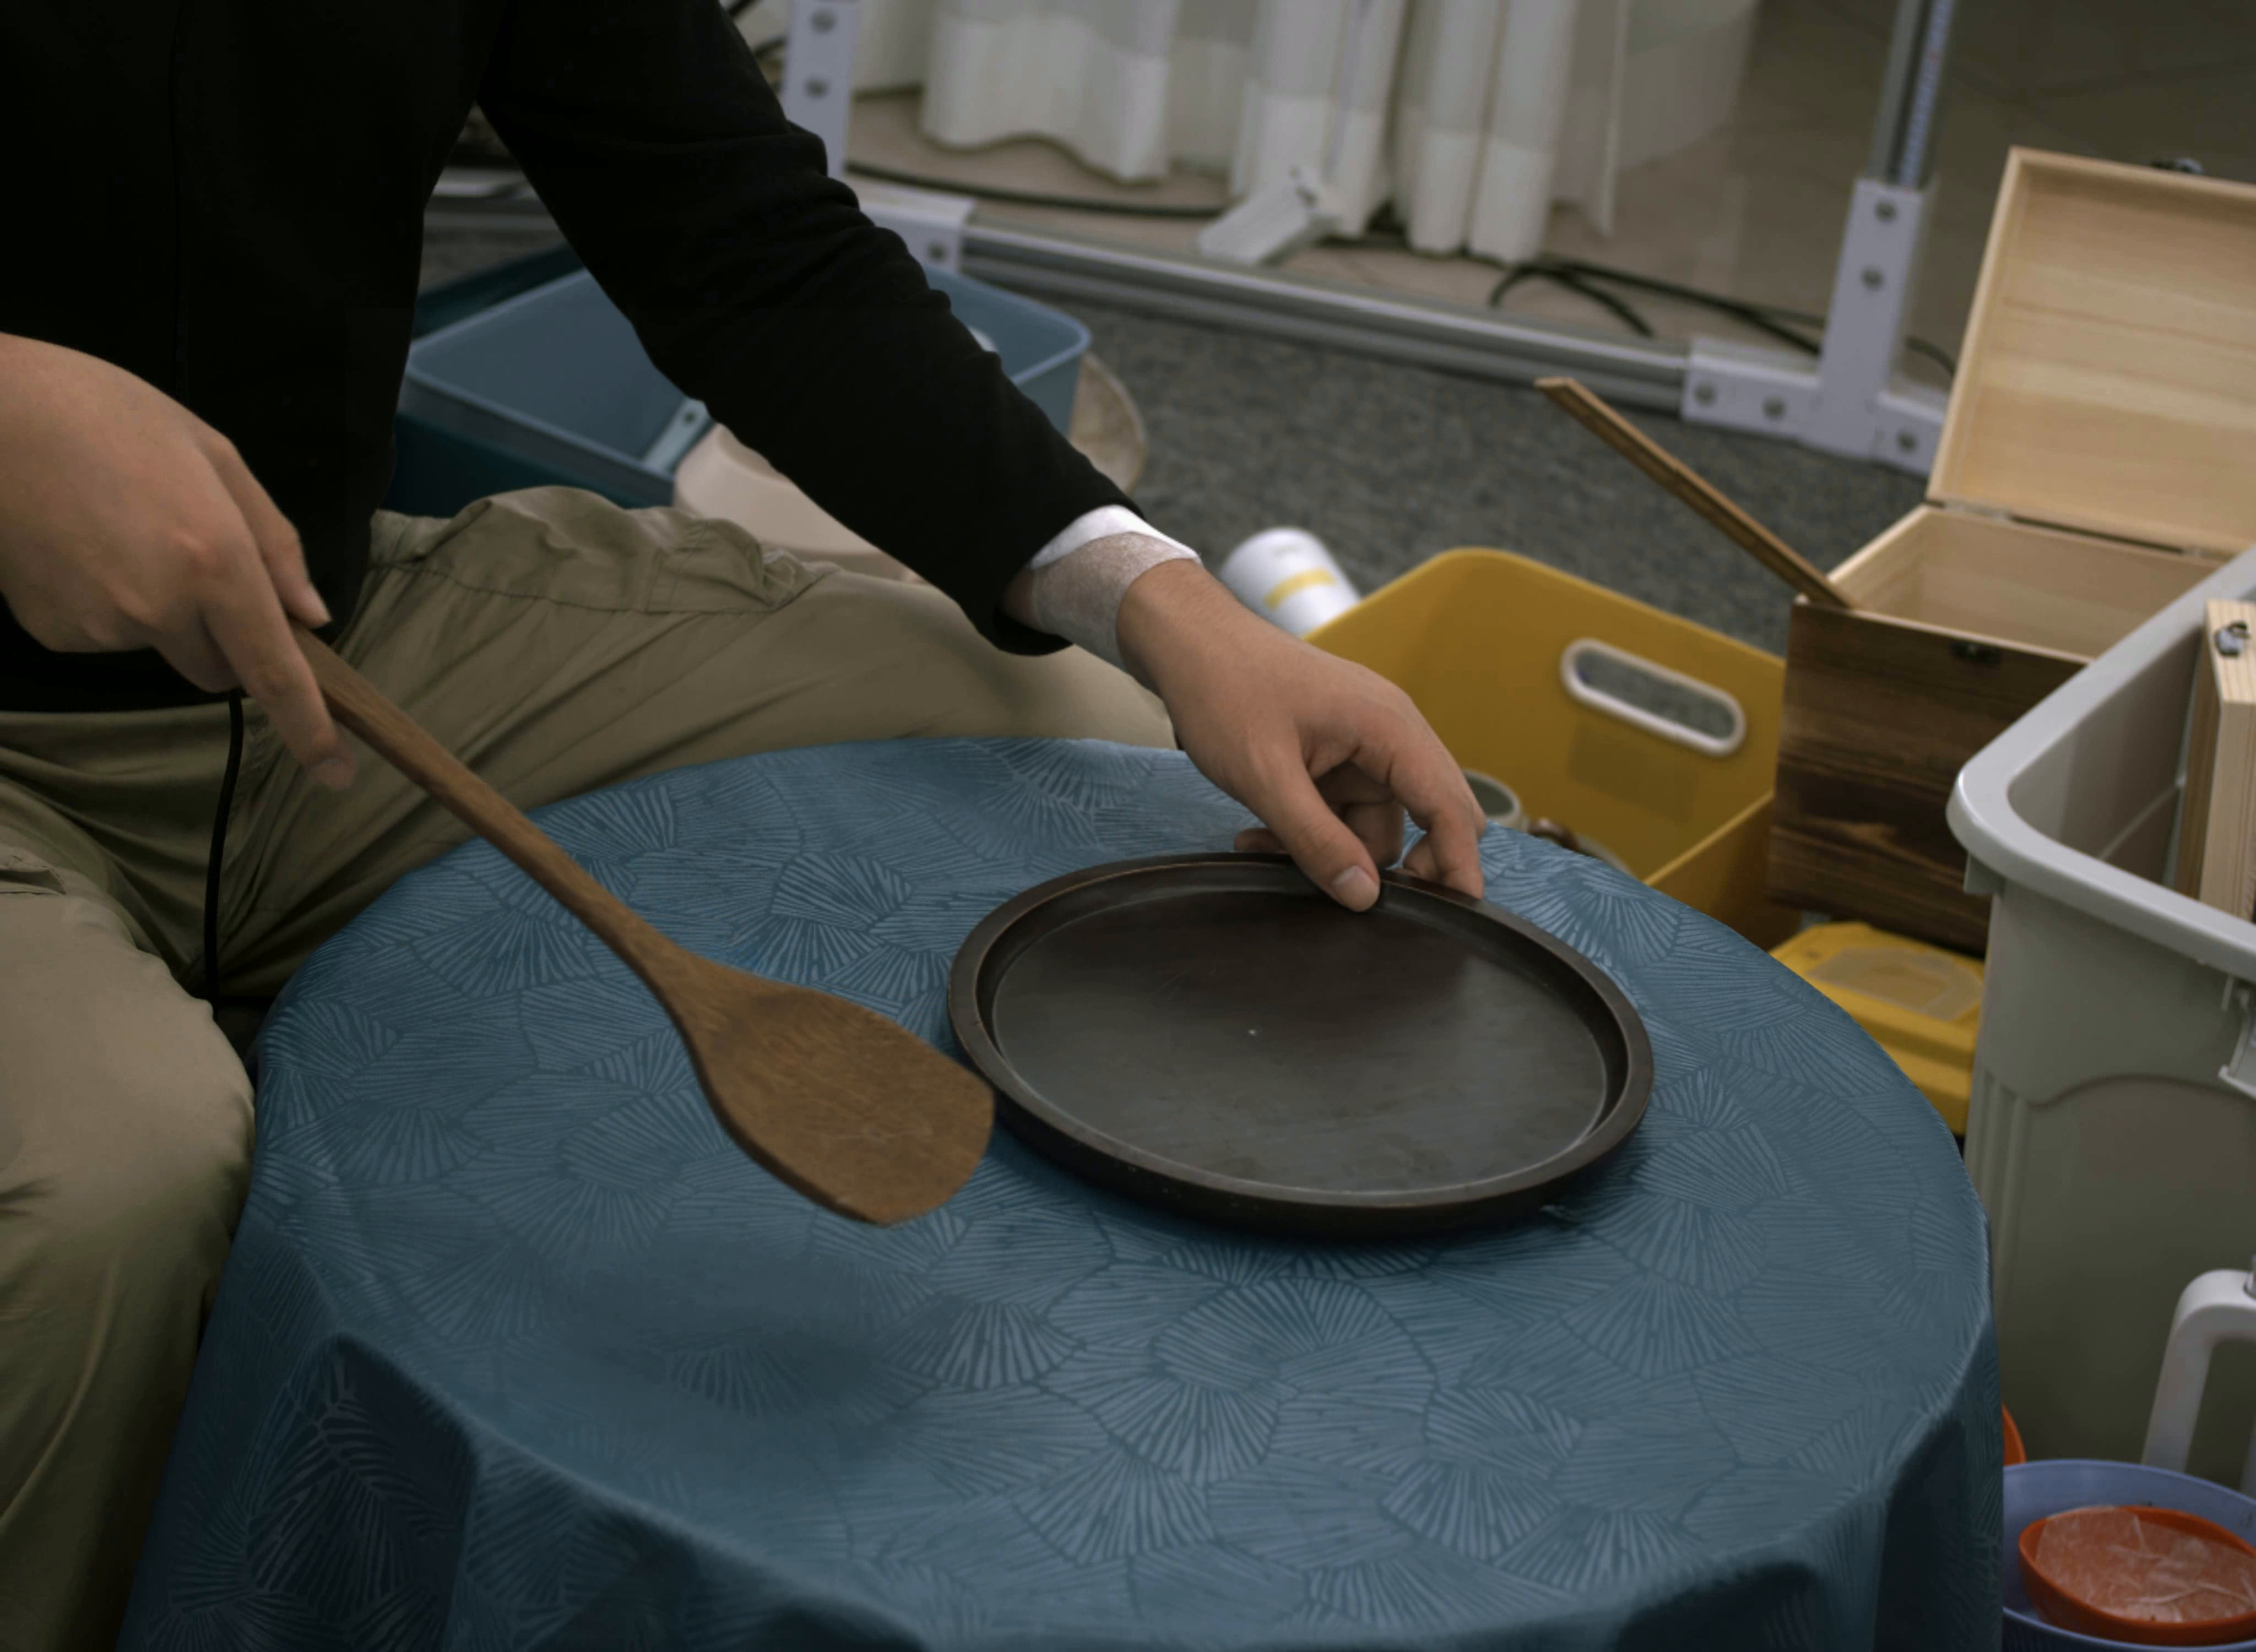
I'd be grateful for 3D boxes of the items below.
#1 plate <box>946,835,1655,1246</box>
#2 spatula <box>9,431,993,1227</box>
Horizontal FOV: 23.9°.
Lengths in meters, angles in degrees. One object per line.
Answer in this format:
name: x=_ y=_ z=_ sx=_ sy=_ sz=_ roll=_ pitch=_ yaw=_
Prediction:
plate: x=0.060 y=0.077 z=1.881 sx=0.254 sy=0.029 sz=0.256 roll=4 pitch=28 yaw=-2
spatula: x=-0.203 y=-0.006 z=1.682 sx=0.386 sy=0.016 sz=0.096 roll=39 pitch=35 yaw=4
